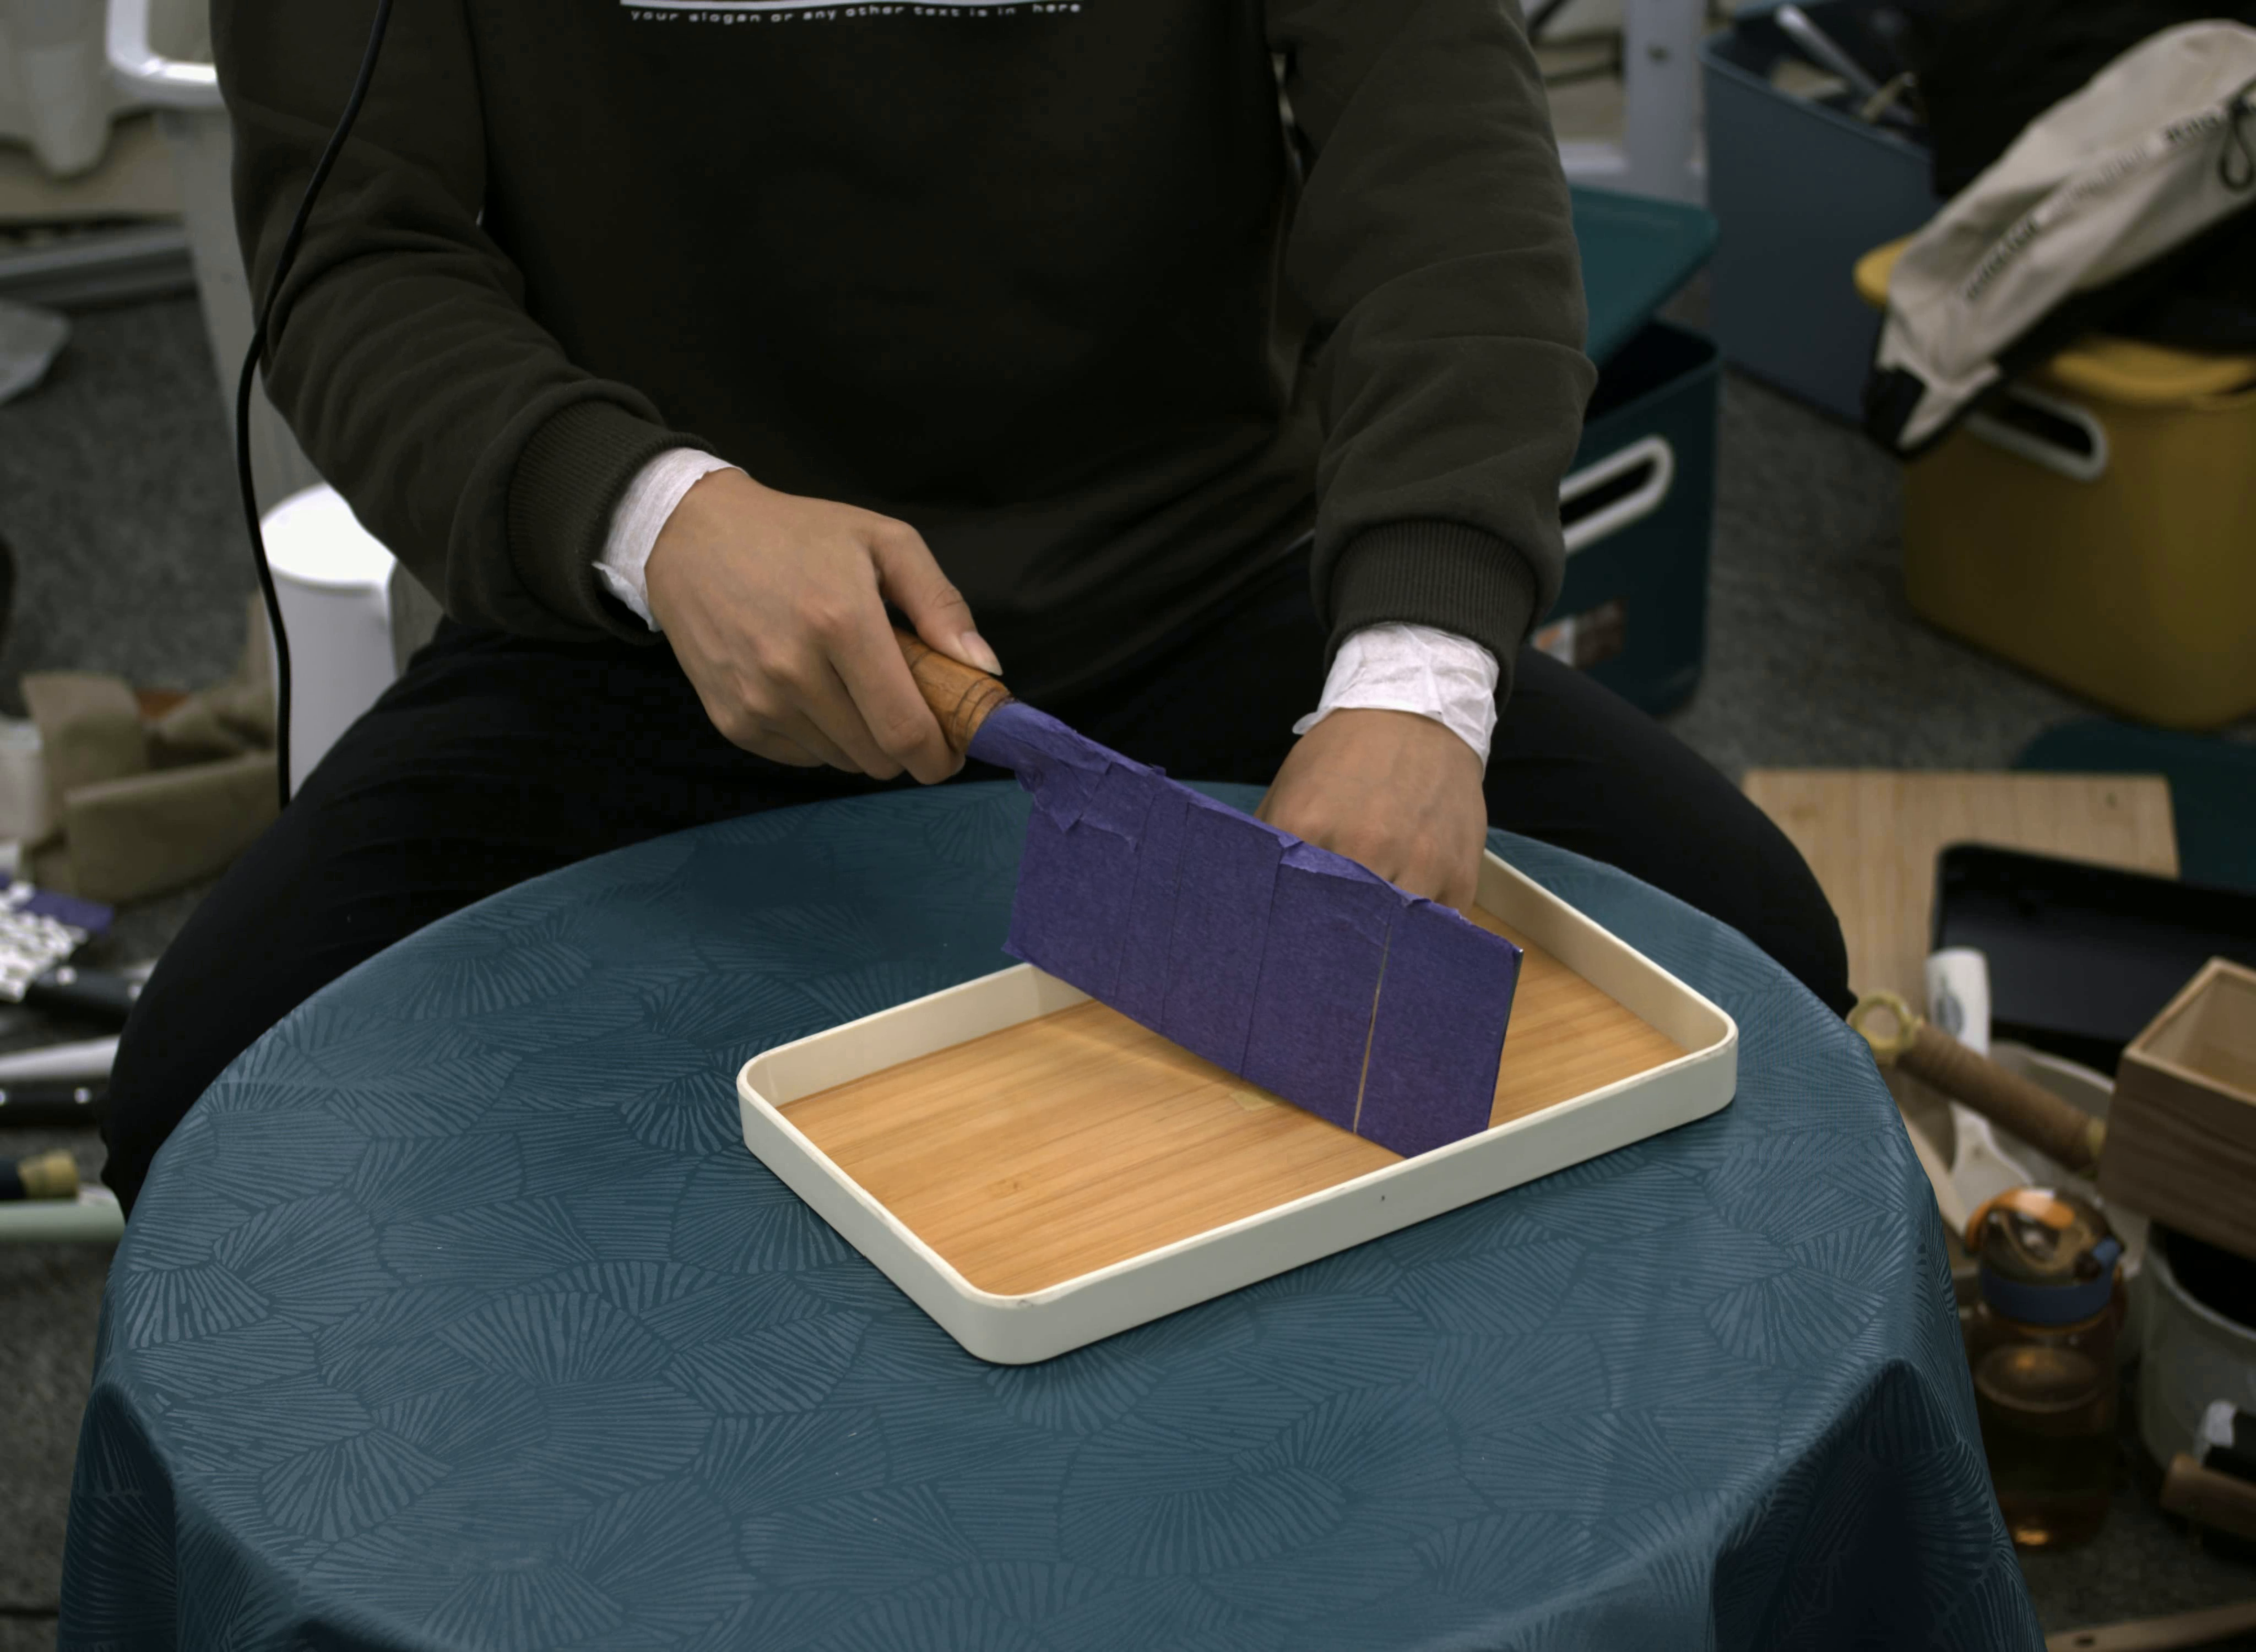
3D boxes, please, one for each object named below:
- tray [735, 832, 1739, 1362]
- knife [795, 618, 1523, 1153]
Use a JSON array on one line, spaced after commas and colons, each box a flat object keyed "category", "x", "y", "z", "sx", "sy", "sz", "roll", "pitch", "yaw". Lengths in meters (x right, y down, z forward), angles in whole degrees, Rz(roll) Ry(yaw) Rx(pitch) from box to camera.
[{"category": "tray", "x": 0.037, "y": 0.086, "z": 1.897, "sx": 0.302, "sy": 0.027, "sz": 0.192, "roll": -18, "pitch": 31, "yaw": -26}, {"category": "knife", "x": 0.002, "y": 0.021, "z": 1.910, "sx": 0.315, "sy": 0.103, "sz": 0.032, "roll": 26, "pitch": 23, "yaw": 35}]
